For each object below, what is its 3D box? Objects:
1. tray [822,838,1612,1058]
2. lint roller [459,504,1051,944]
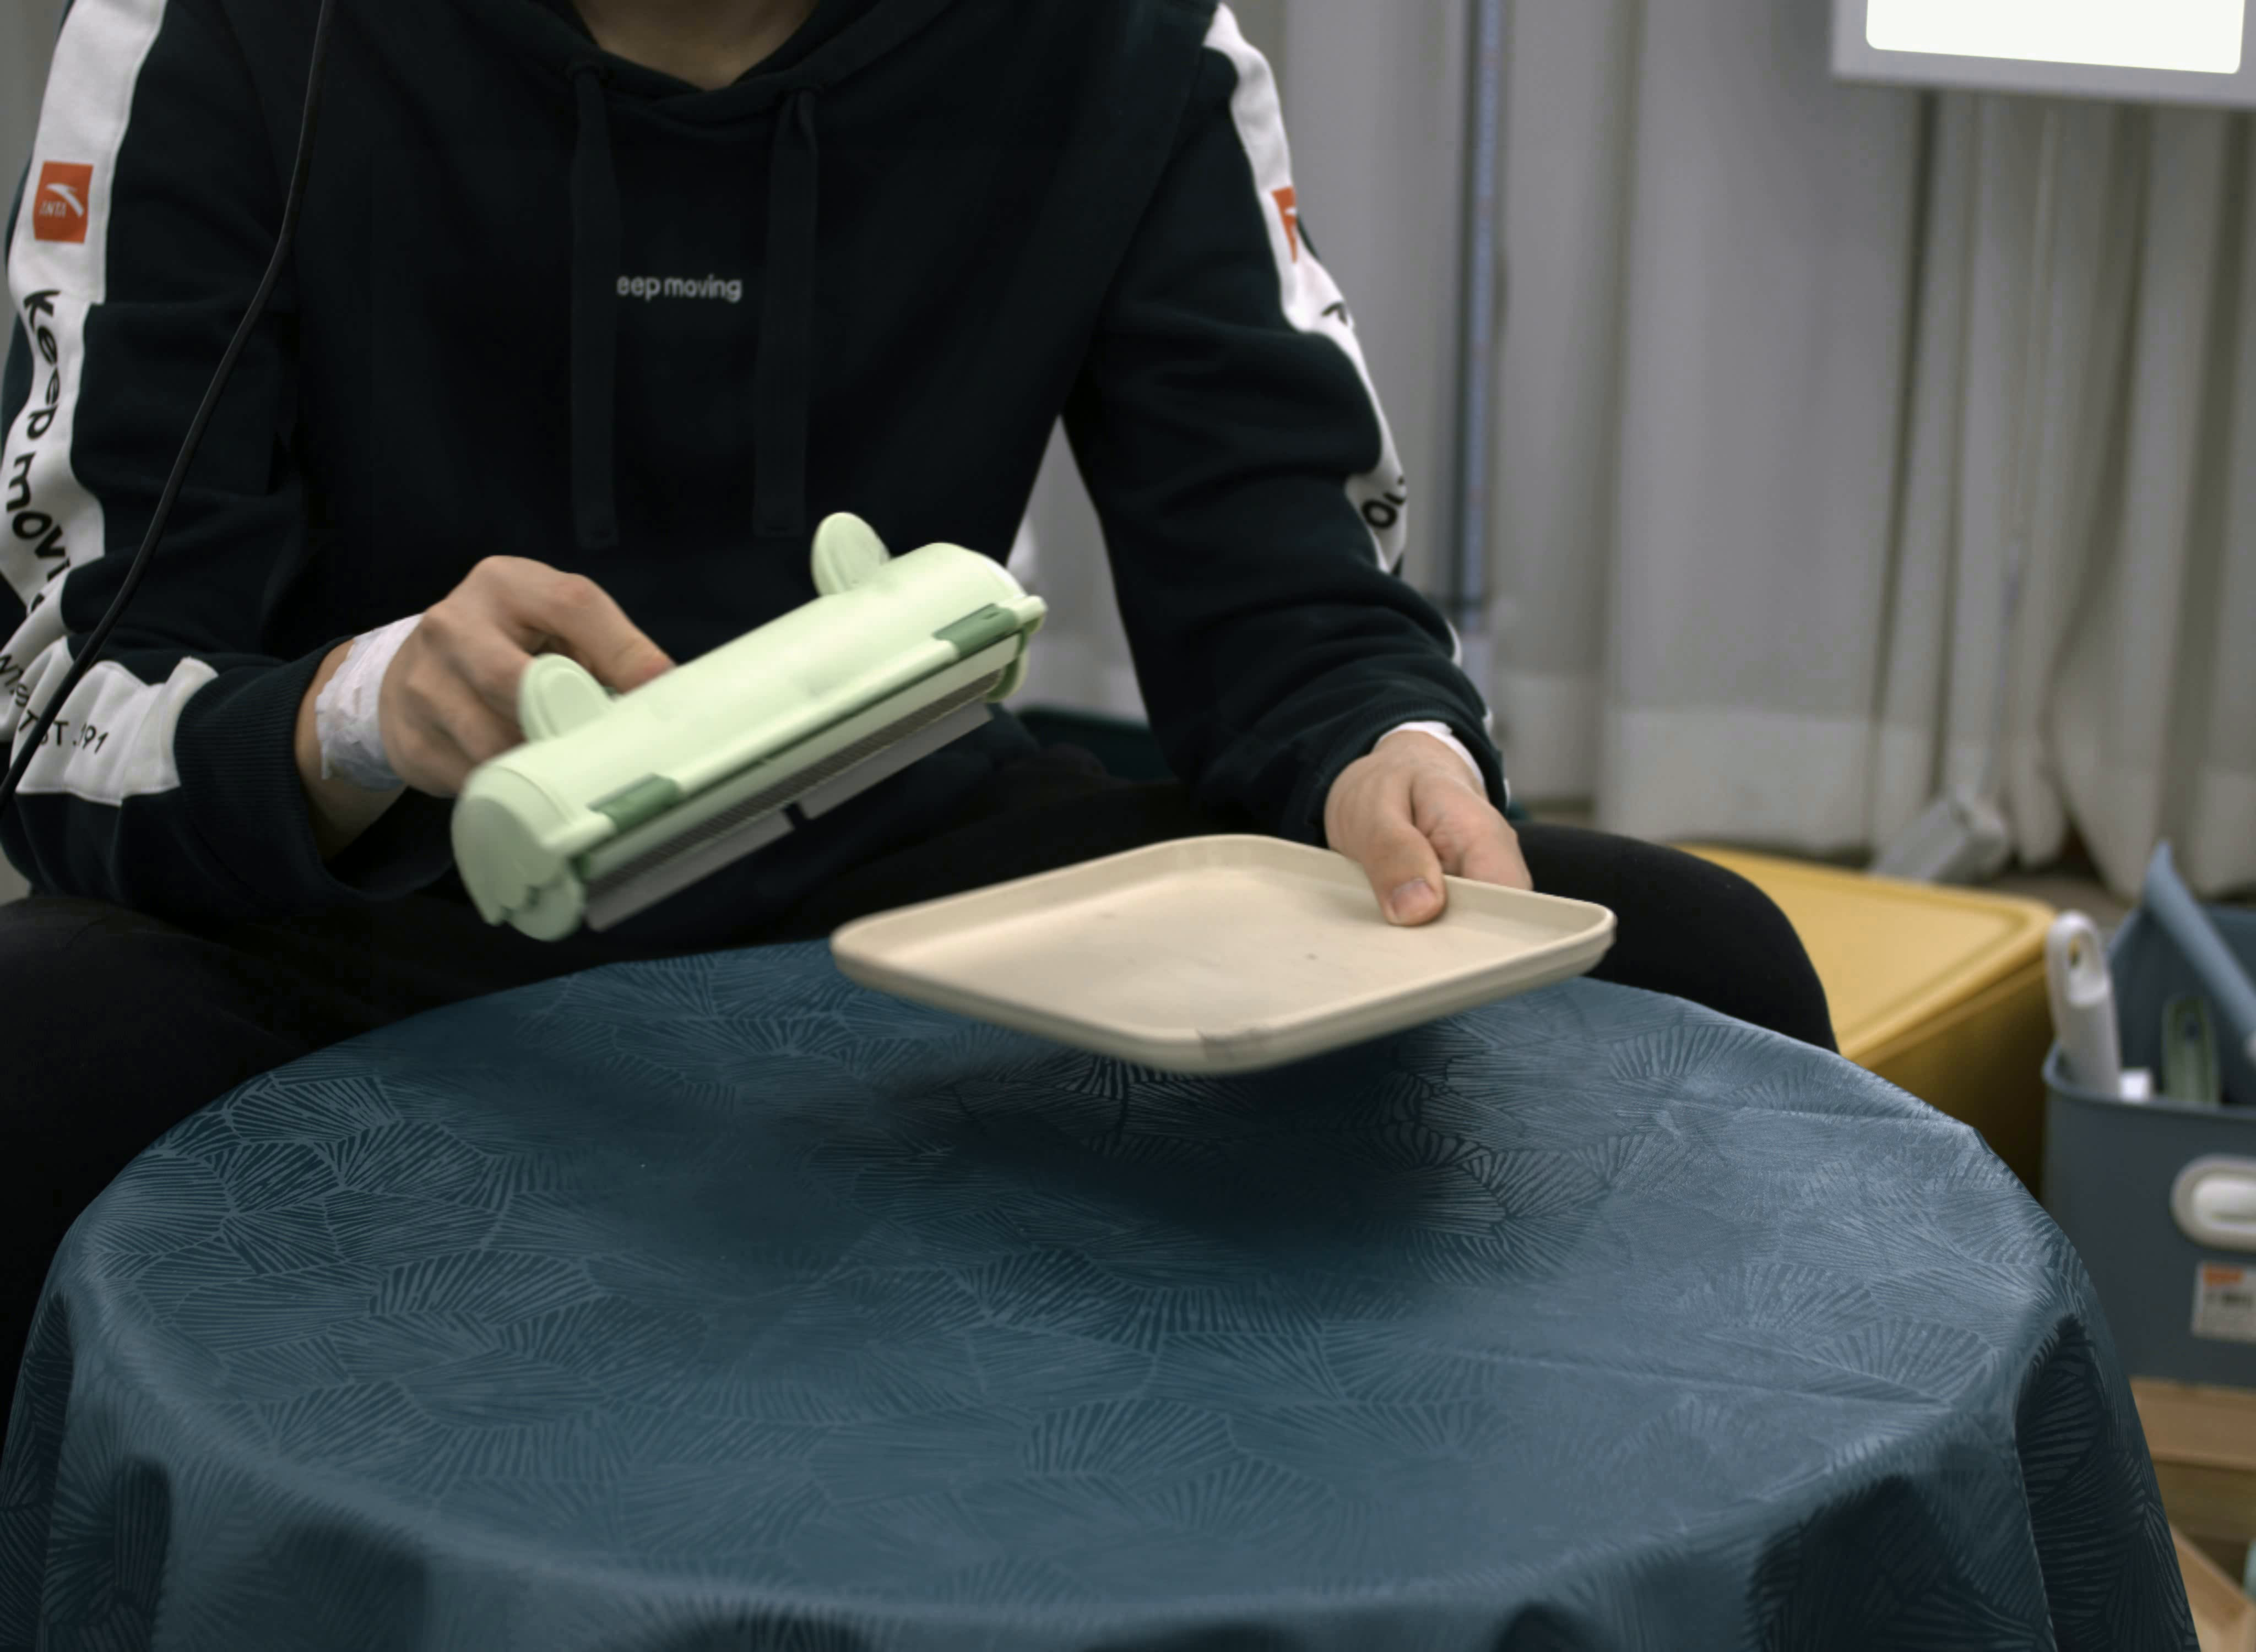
[{"bbox_3d":[0.025,0.037,1.648,0.172,0.017,0.237,-12,13,-32],"label":"tray"},{"bbox_3d":[-0.149,-0.042,1.597,0.181,0.083,0.199,12,33,44],"label":"lint roller"}]
